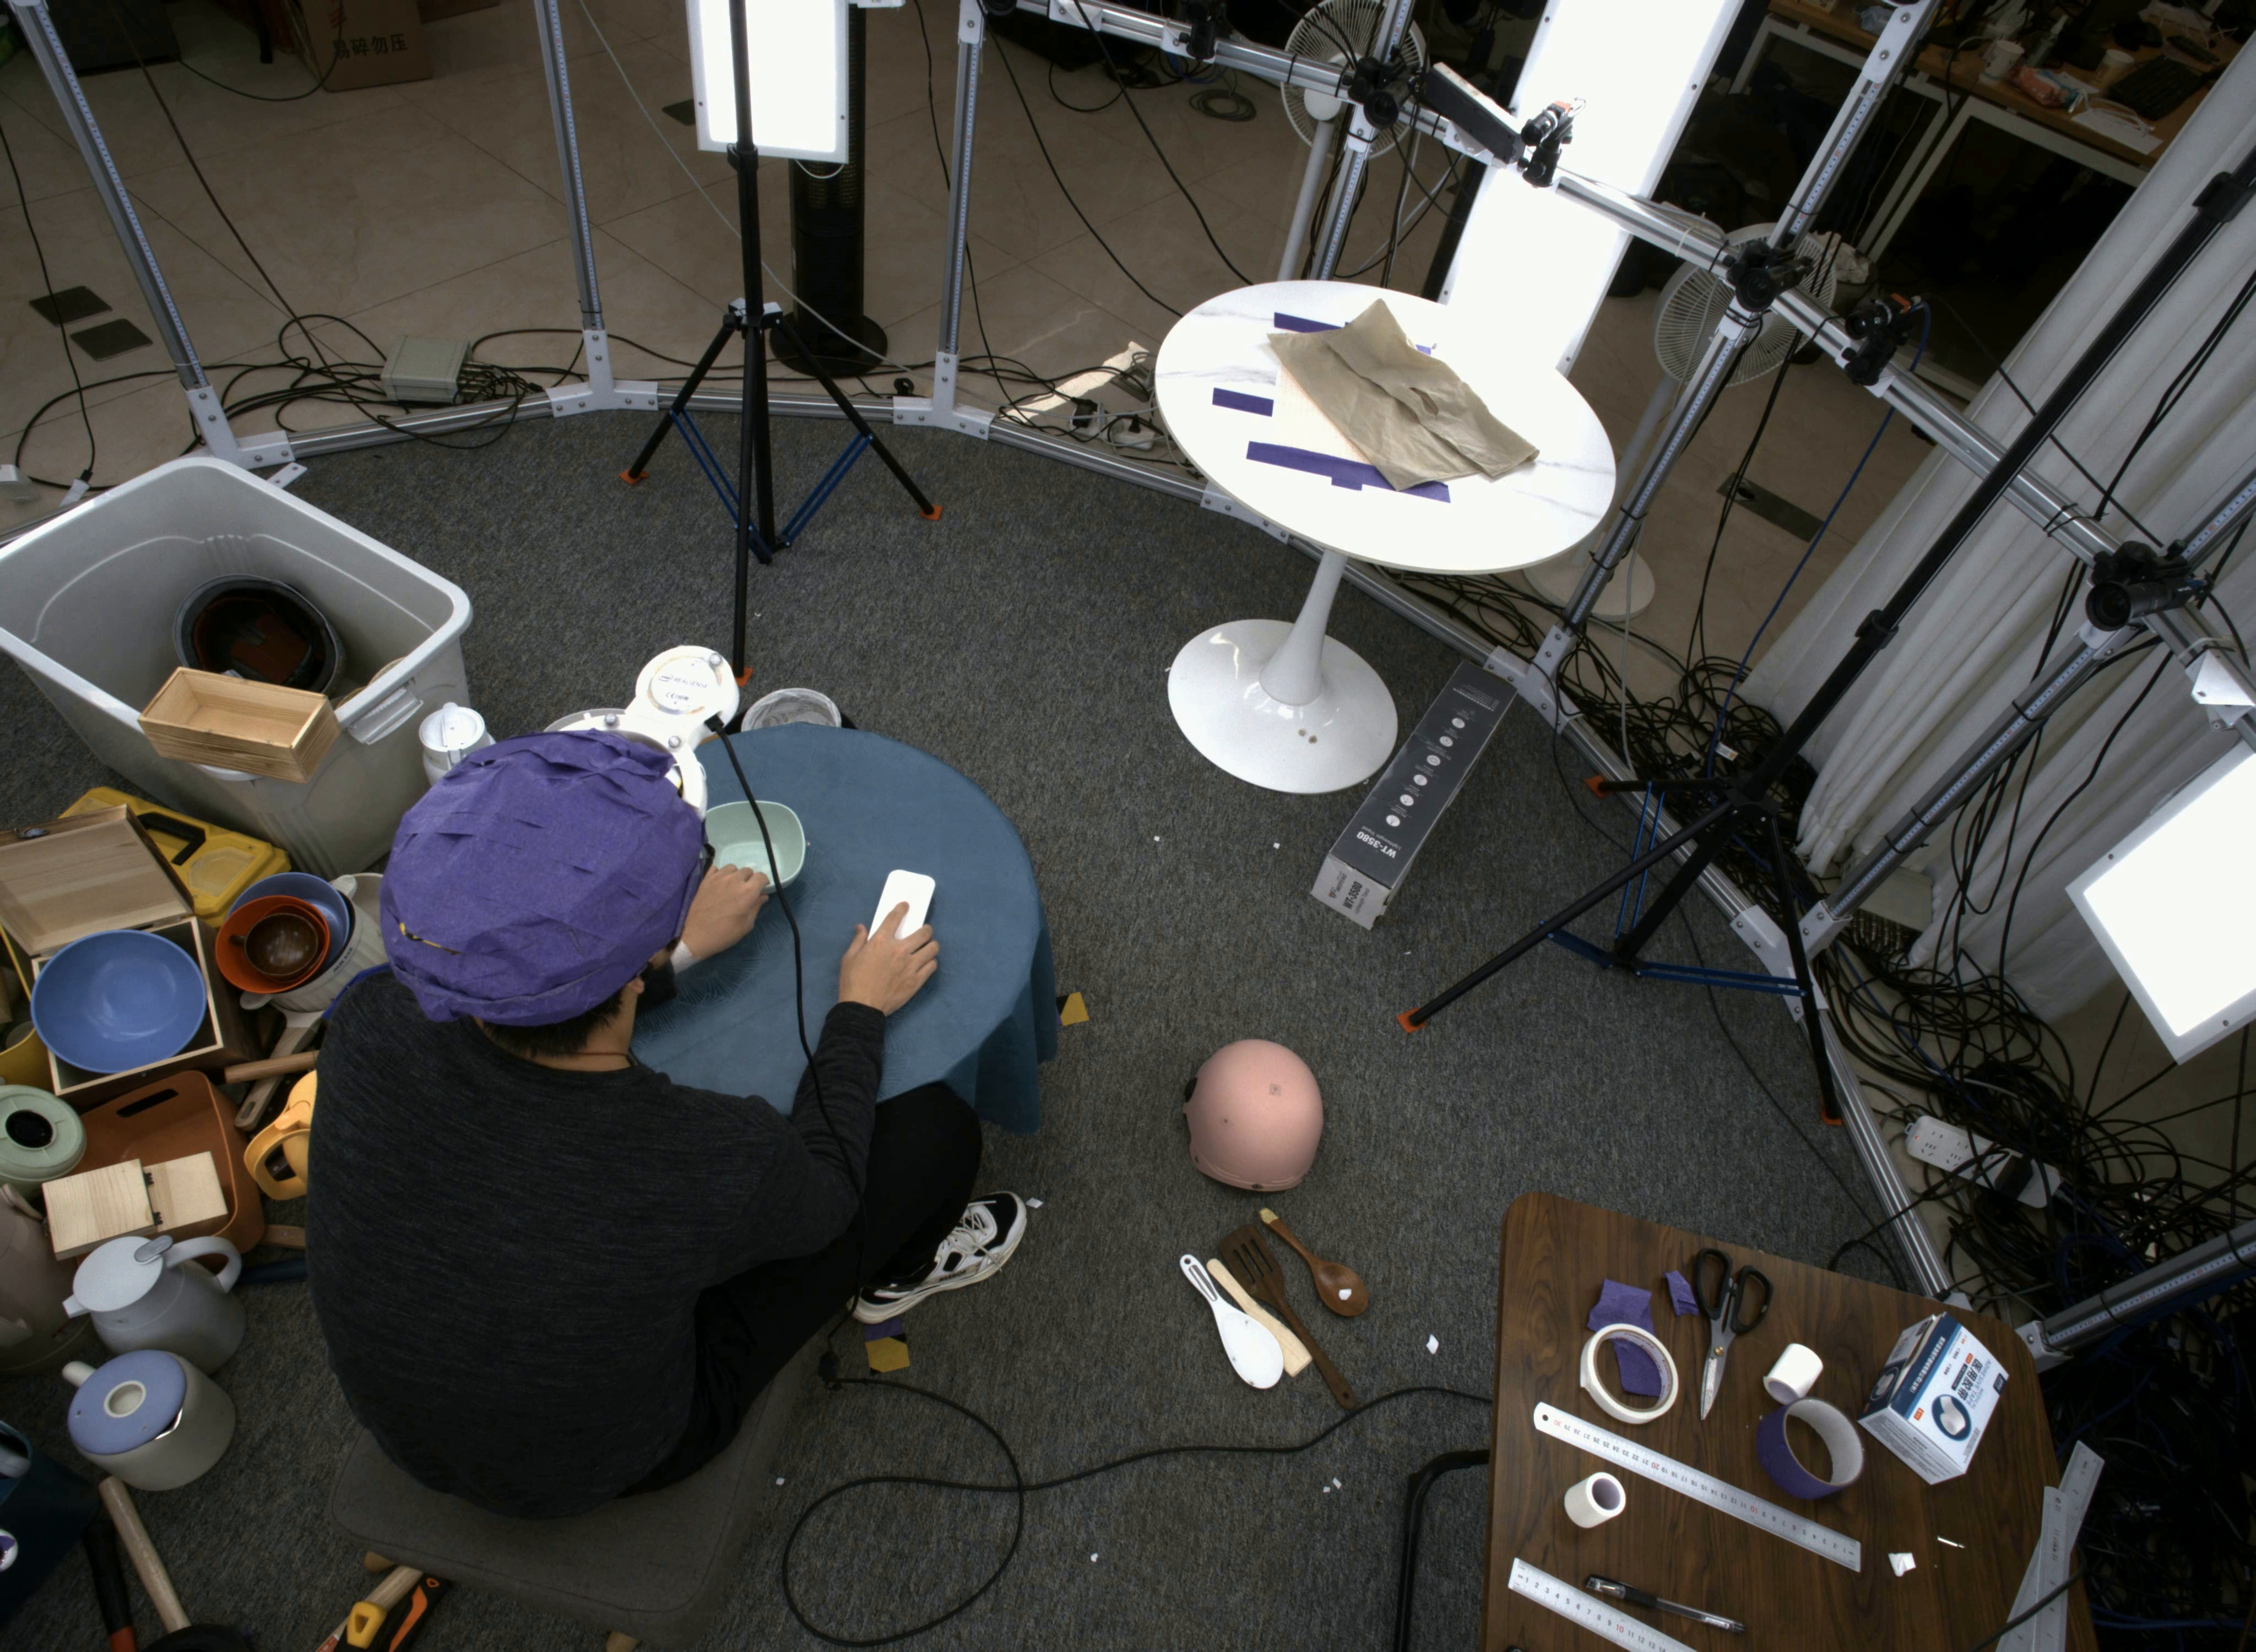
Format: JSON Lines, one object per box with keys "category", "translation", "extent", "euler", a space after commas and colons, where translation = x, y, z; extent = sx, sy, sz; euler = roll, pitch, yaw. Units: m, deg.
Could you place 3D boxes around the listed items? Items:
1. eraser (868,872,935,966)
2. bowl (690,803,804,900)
{"category": "eraser", "translation": [-0.288, 0.114, 1.649], "extent": [0.063, 0.035, 0.129], "euler": [12, 50, -2]}
{"category": "bowl", "translation": [-0.480, 0.040, 1.638], "extent": [0.151, 0.060, 0.148], "euler": [8, 50, -8]}
